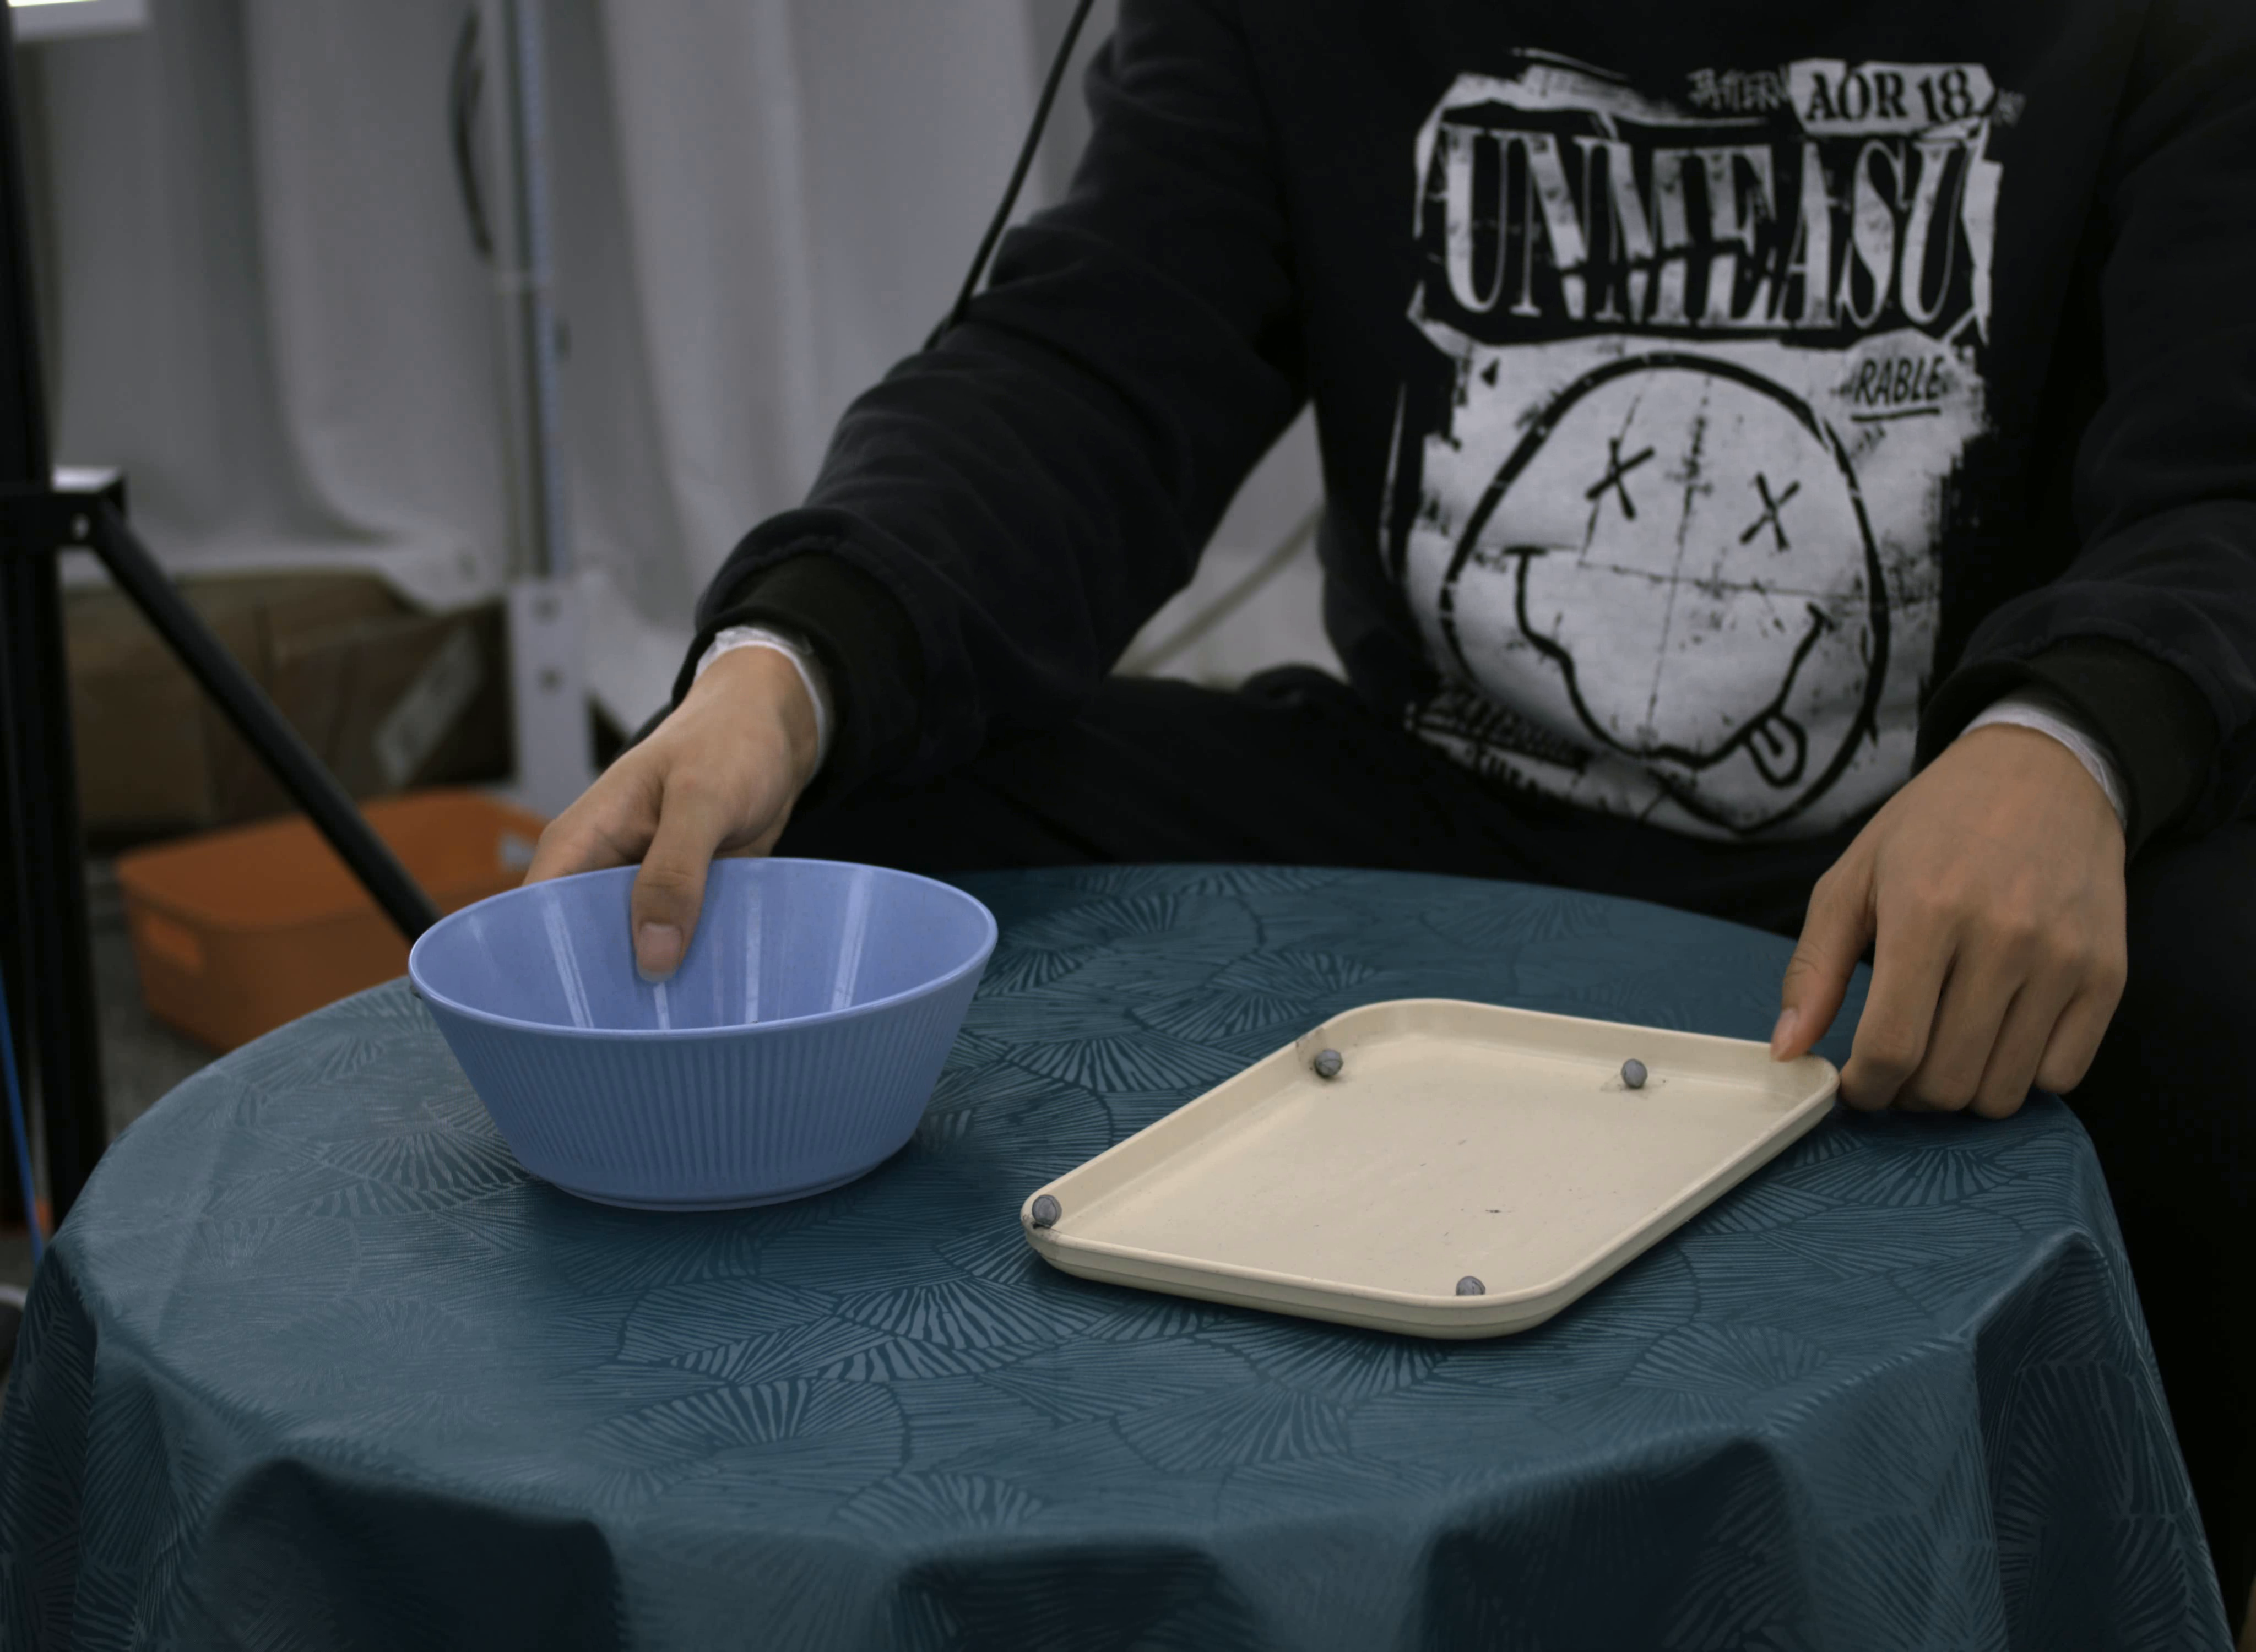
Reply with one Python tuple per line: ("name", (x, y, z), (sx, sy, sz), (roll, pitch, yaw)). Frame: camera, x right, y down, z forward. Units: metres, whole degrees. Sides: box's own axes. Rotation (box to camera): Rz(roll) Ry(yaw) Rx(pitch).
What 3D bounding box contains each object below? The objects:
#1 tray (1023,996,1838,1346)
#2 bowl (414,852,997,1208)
("tray", (0.092, 0.099, 1.543), (0.174, 0.017, 0.235), (8, 19, 31))
("bowl", (-0.125, 0.064, 1.605), (0.175, 0.070, 0.177), (-3, 16, -1))
